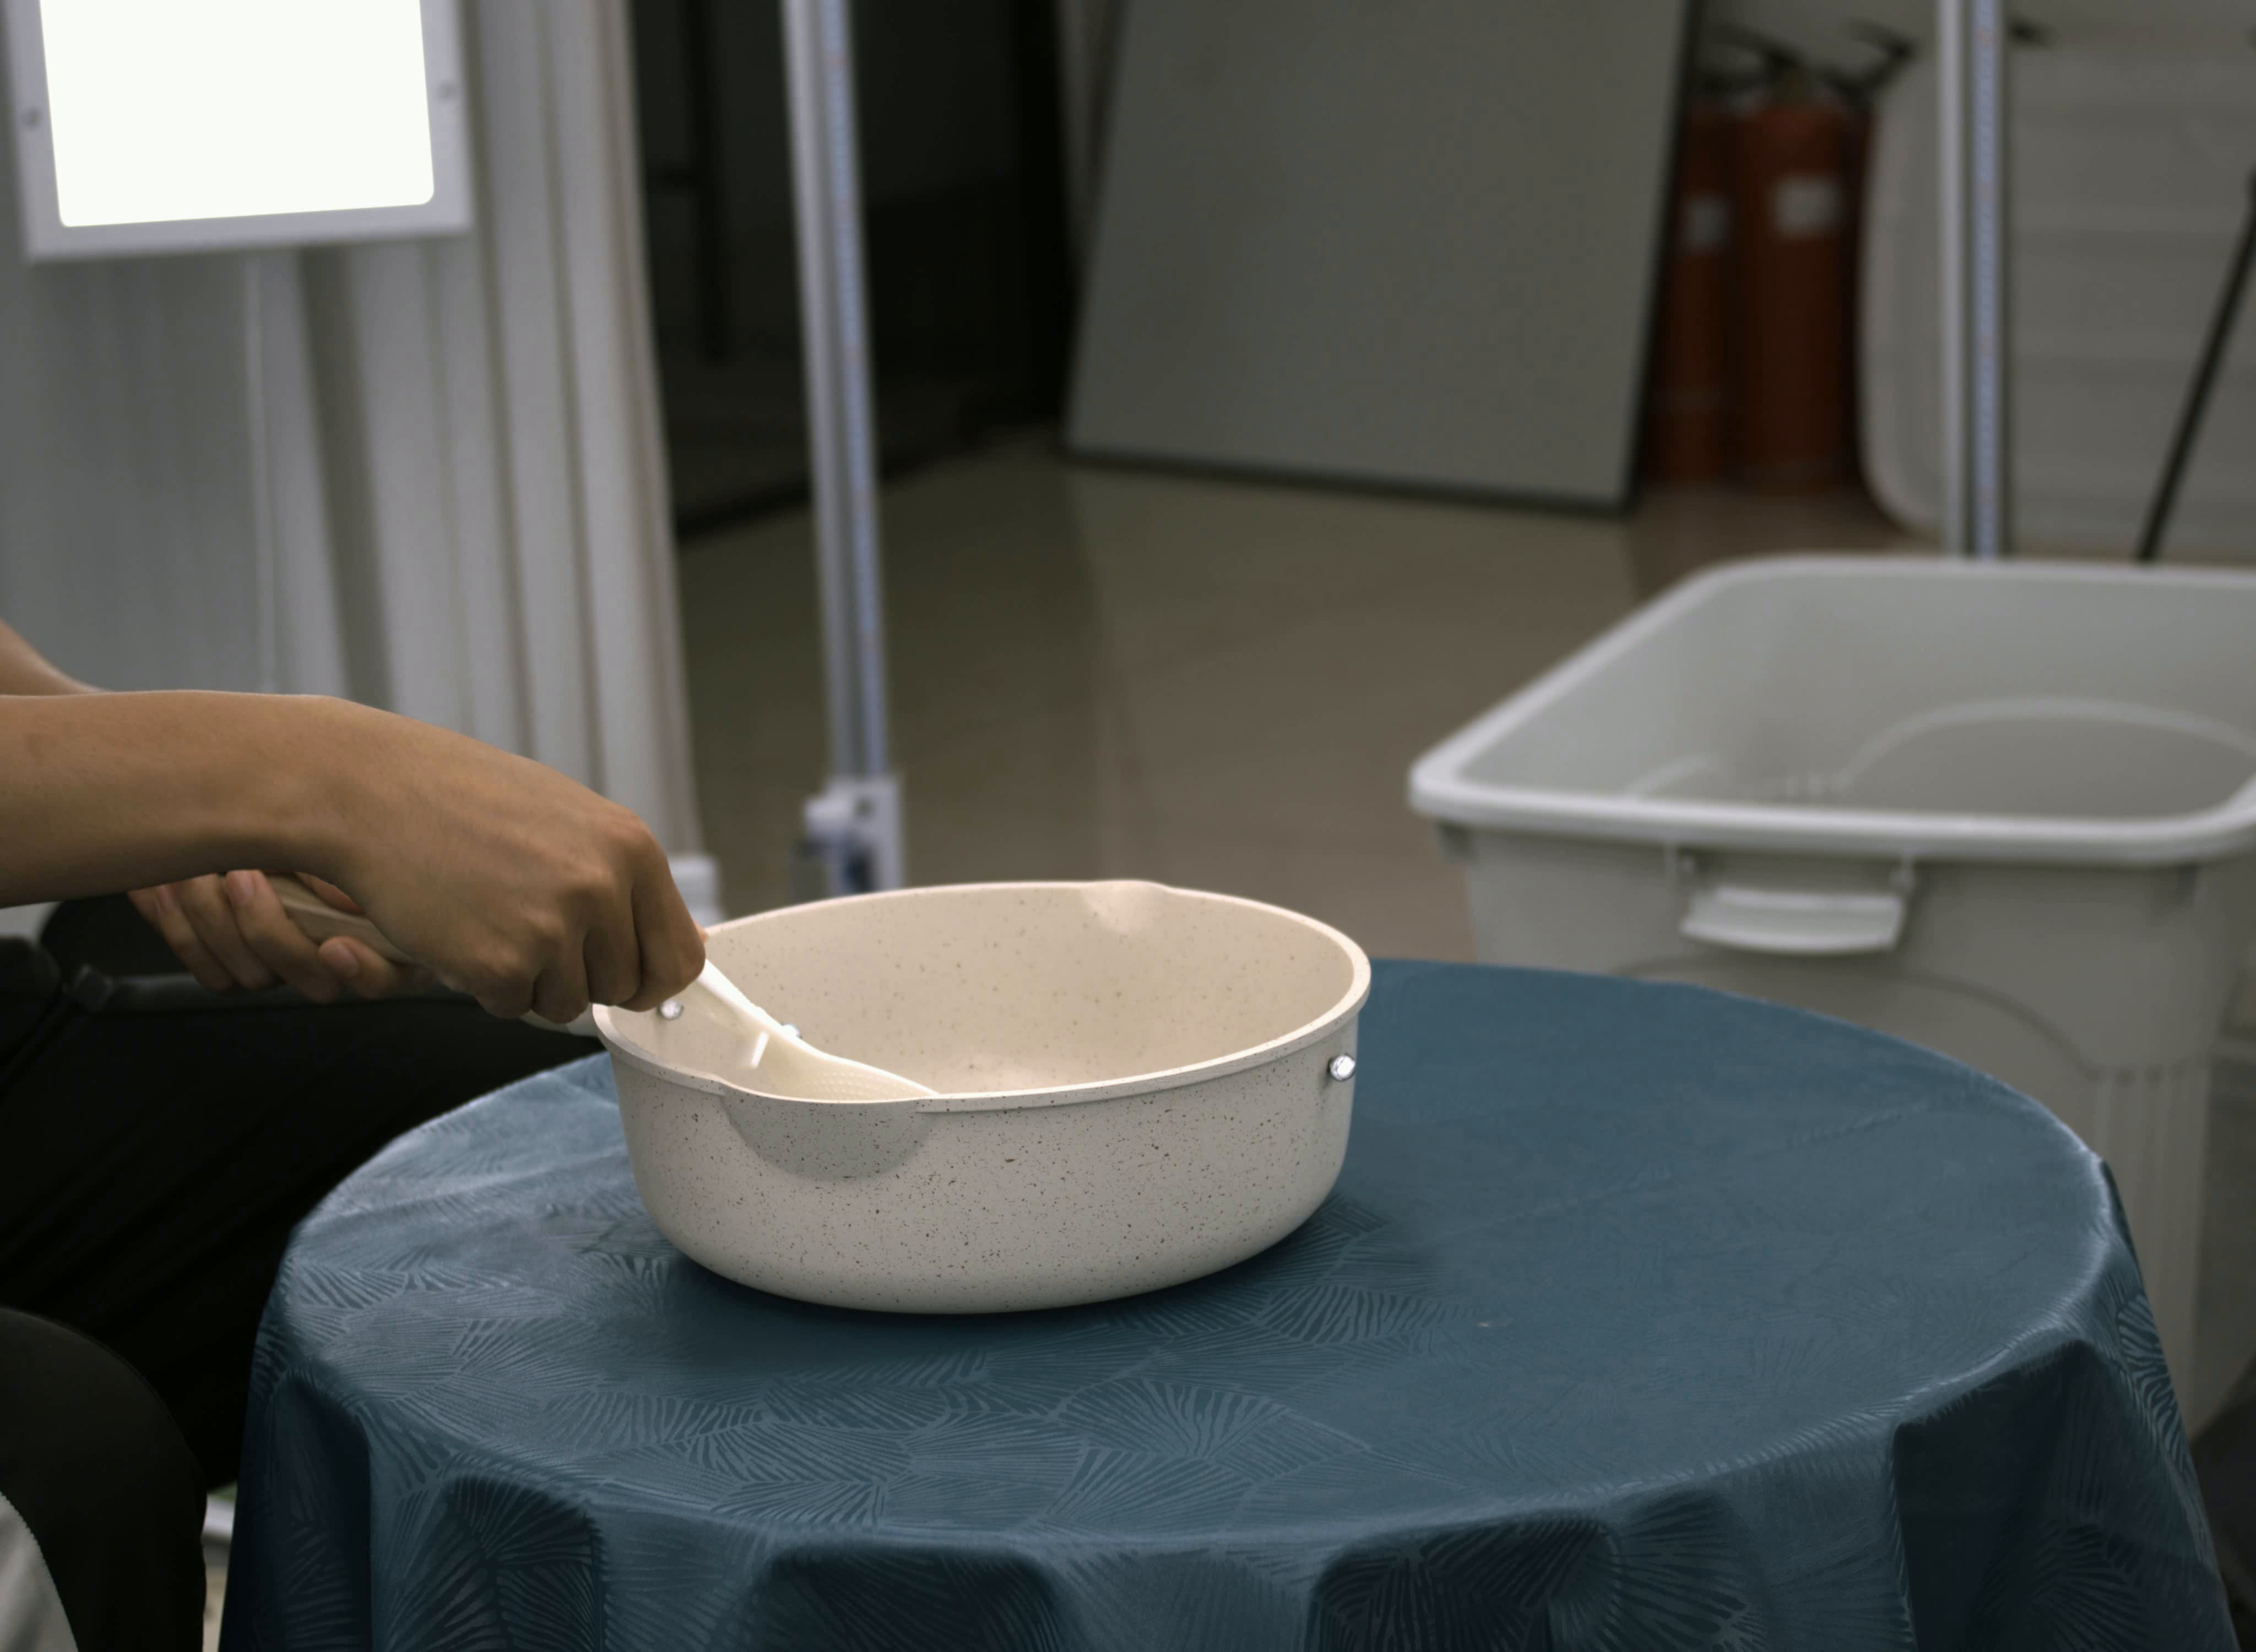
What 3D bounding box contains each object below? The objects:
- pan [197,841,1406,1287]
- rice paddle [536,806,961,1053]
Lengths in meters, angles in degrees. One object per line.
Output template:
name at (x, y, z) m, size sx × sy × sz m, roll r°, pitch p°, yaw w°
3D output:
pan at (-0.115, 0.069, 1.794) m, size 0.435 × 0.103 × 0.260 m, roll 2°, pitch 17°, yaw 24°
rice paddle at (-0.102, 0.057, 1.719) m, size 0.202 × 0.029 × 0.069 m, roll 36°, pitch -32°, yaw -30°
